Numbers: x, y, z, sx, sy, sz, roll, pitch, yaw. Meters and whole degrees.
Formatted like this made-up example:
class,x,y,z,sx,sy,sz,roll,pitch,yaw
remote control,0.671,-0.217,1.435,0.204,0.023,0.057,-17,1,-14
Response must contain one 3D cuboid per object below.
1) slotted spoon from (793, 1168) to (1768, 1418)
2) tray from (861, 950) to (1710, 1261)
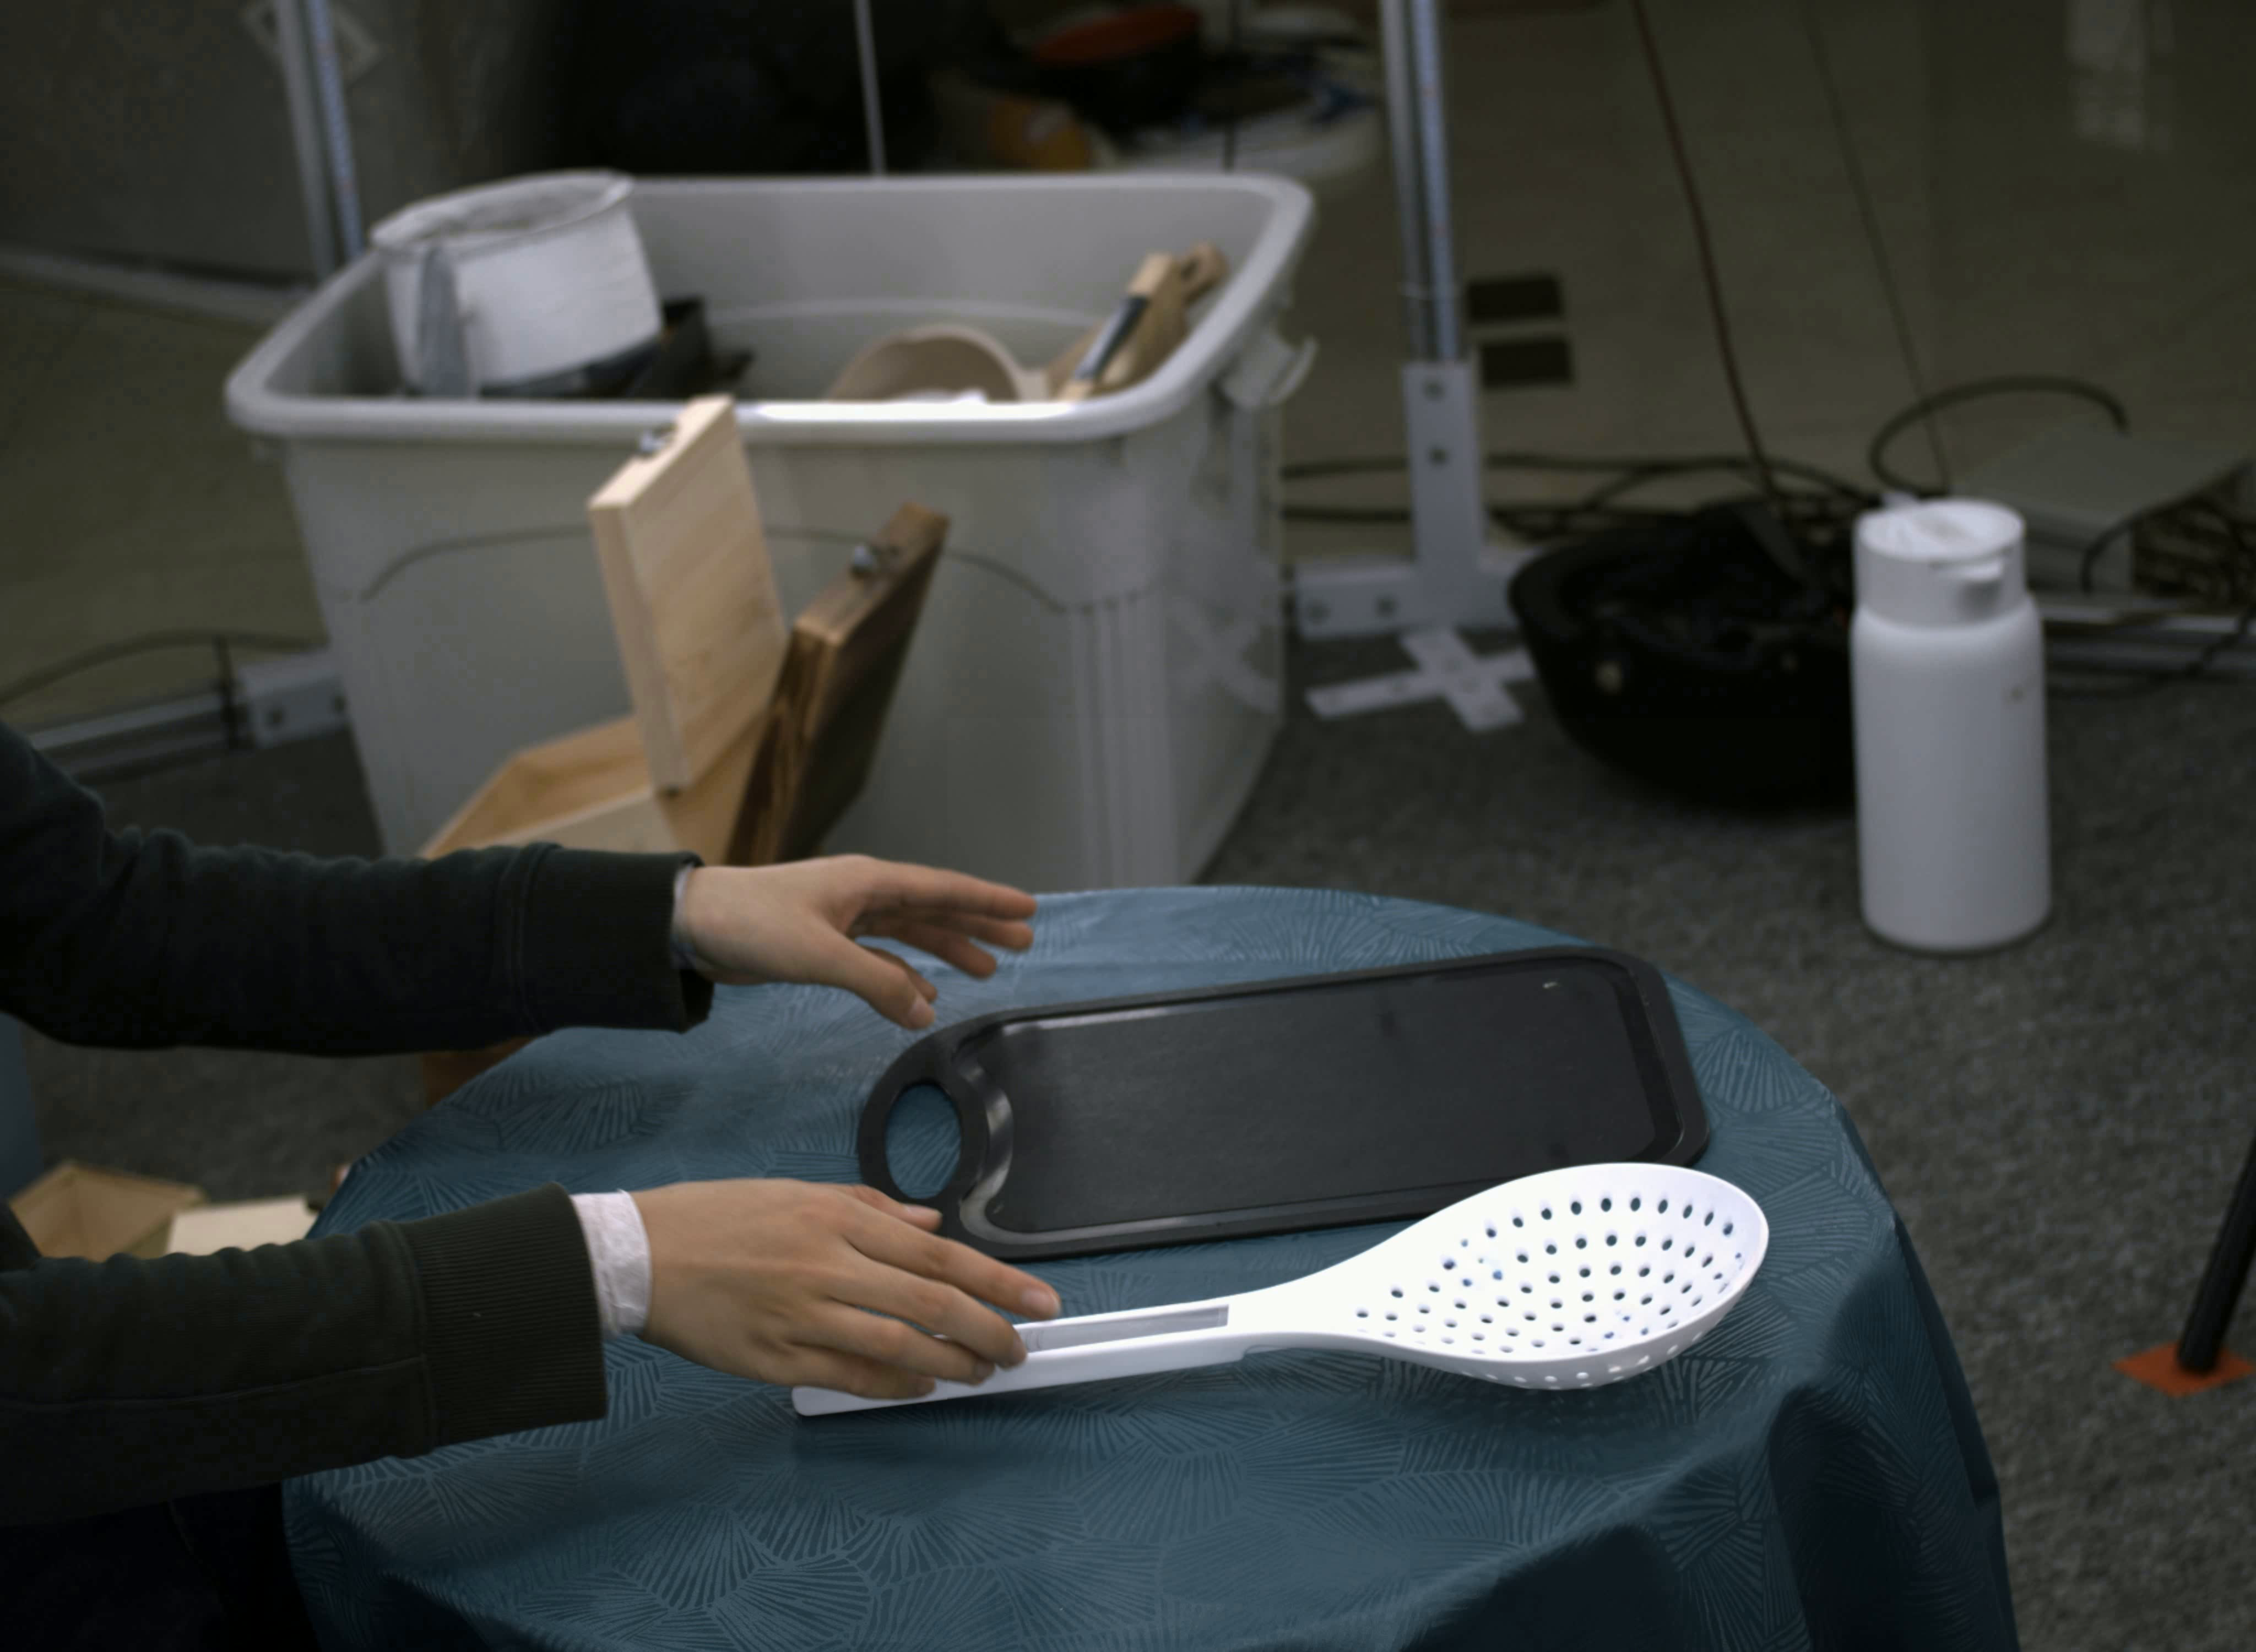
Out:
class,x,y,z,sx,sy,sz,roll,pitch,yaw
slotted spoon,0.052,0.175,2.008,0.349,0.046,0.134,-4,24,6
tray,0.057,0.106,2.202,0.325,0.010,0.208,-7,24,1
